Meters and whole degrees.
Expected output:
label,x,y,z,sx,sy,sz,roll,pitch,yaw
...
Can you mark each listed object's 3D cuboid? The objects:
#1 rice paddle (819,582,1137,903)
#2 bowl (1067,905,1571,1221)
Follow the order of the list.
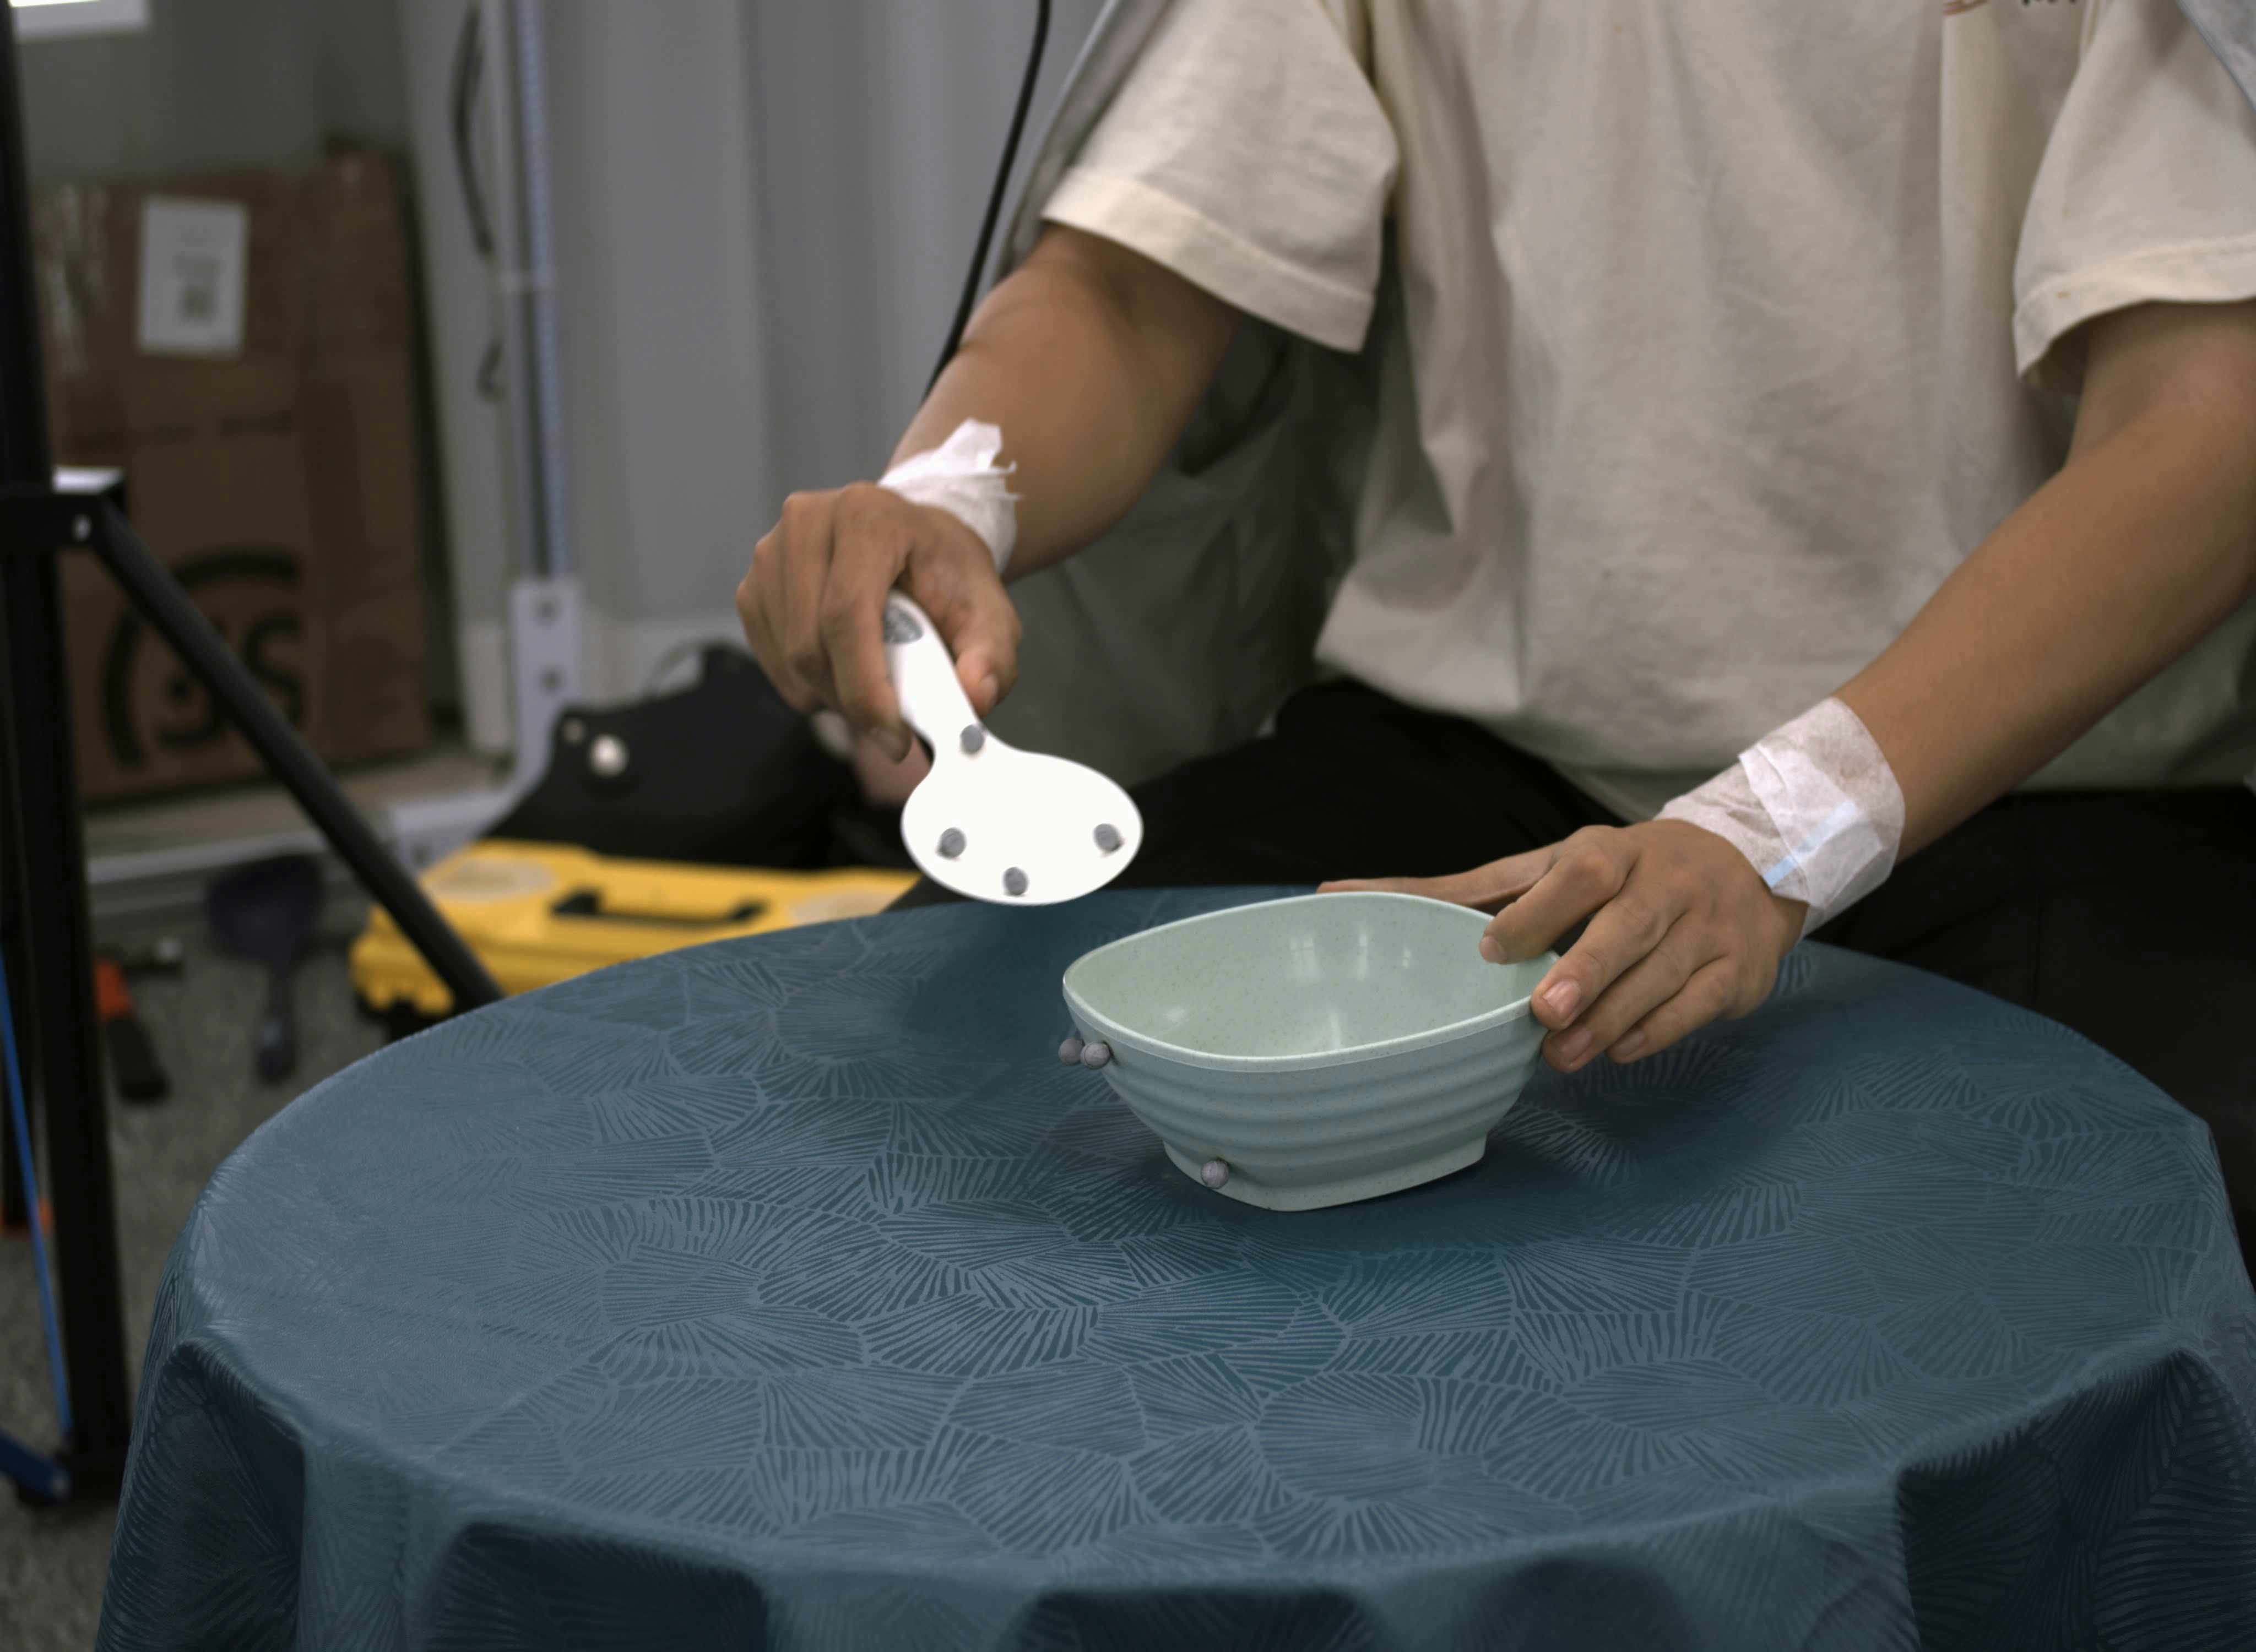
label,x,y,z,sx,sy,sz,roll,pitch,yaw
rice paddle,-0.052,-0.024,1.644,0.068,0.029,0.209,-16,29,-13
bowl,0.058,0.073,1.567,0.151,0.058,0.152,-6,16,0
